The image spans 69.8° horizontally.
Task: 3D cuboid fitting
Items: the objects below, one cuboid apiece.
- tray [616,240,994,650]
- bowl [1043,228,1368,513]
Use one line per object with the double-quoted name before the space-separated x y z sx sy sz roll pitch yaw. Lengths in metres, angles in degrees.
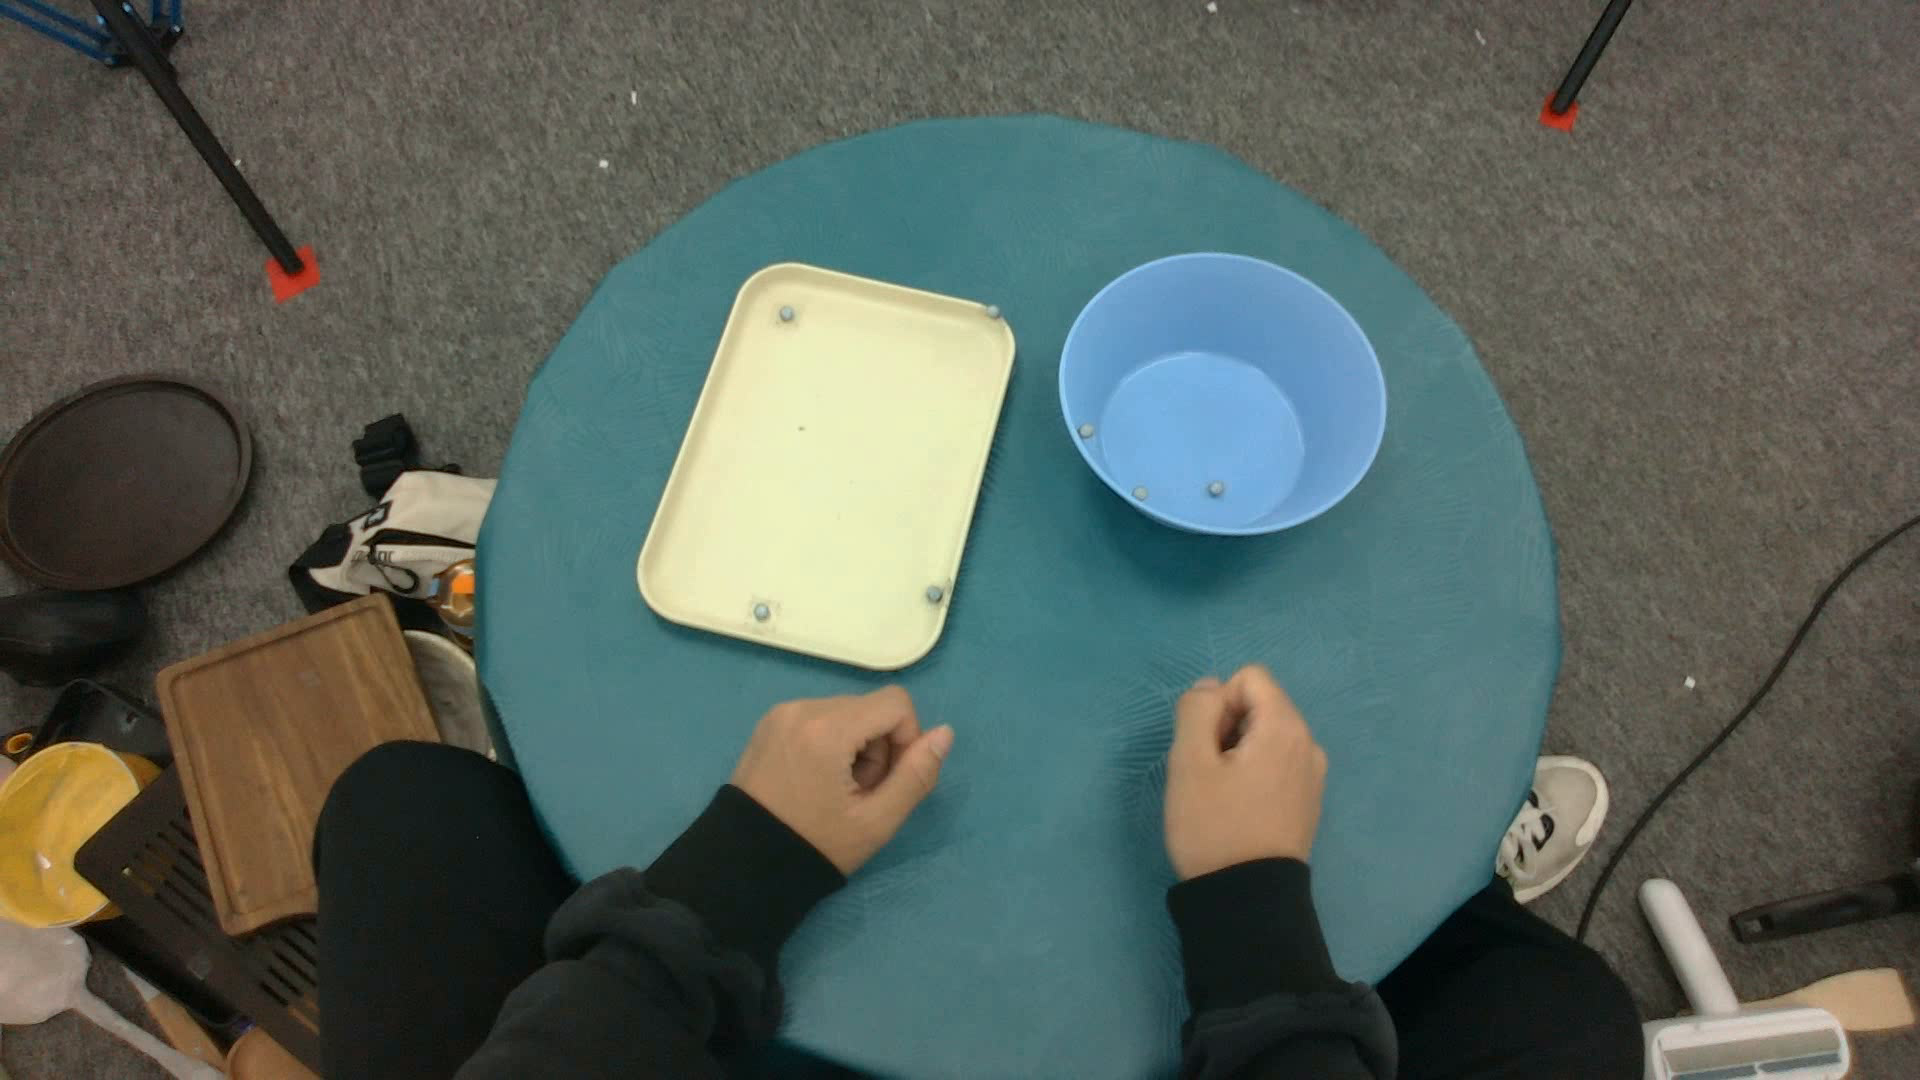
"tray" -0.083 -0.059 0.779 0.171 0.017 0.240 13 66 4
"bowl" 0.132 -0.083 0.771 0.176 0.070 0.176 1 66 -1
